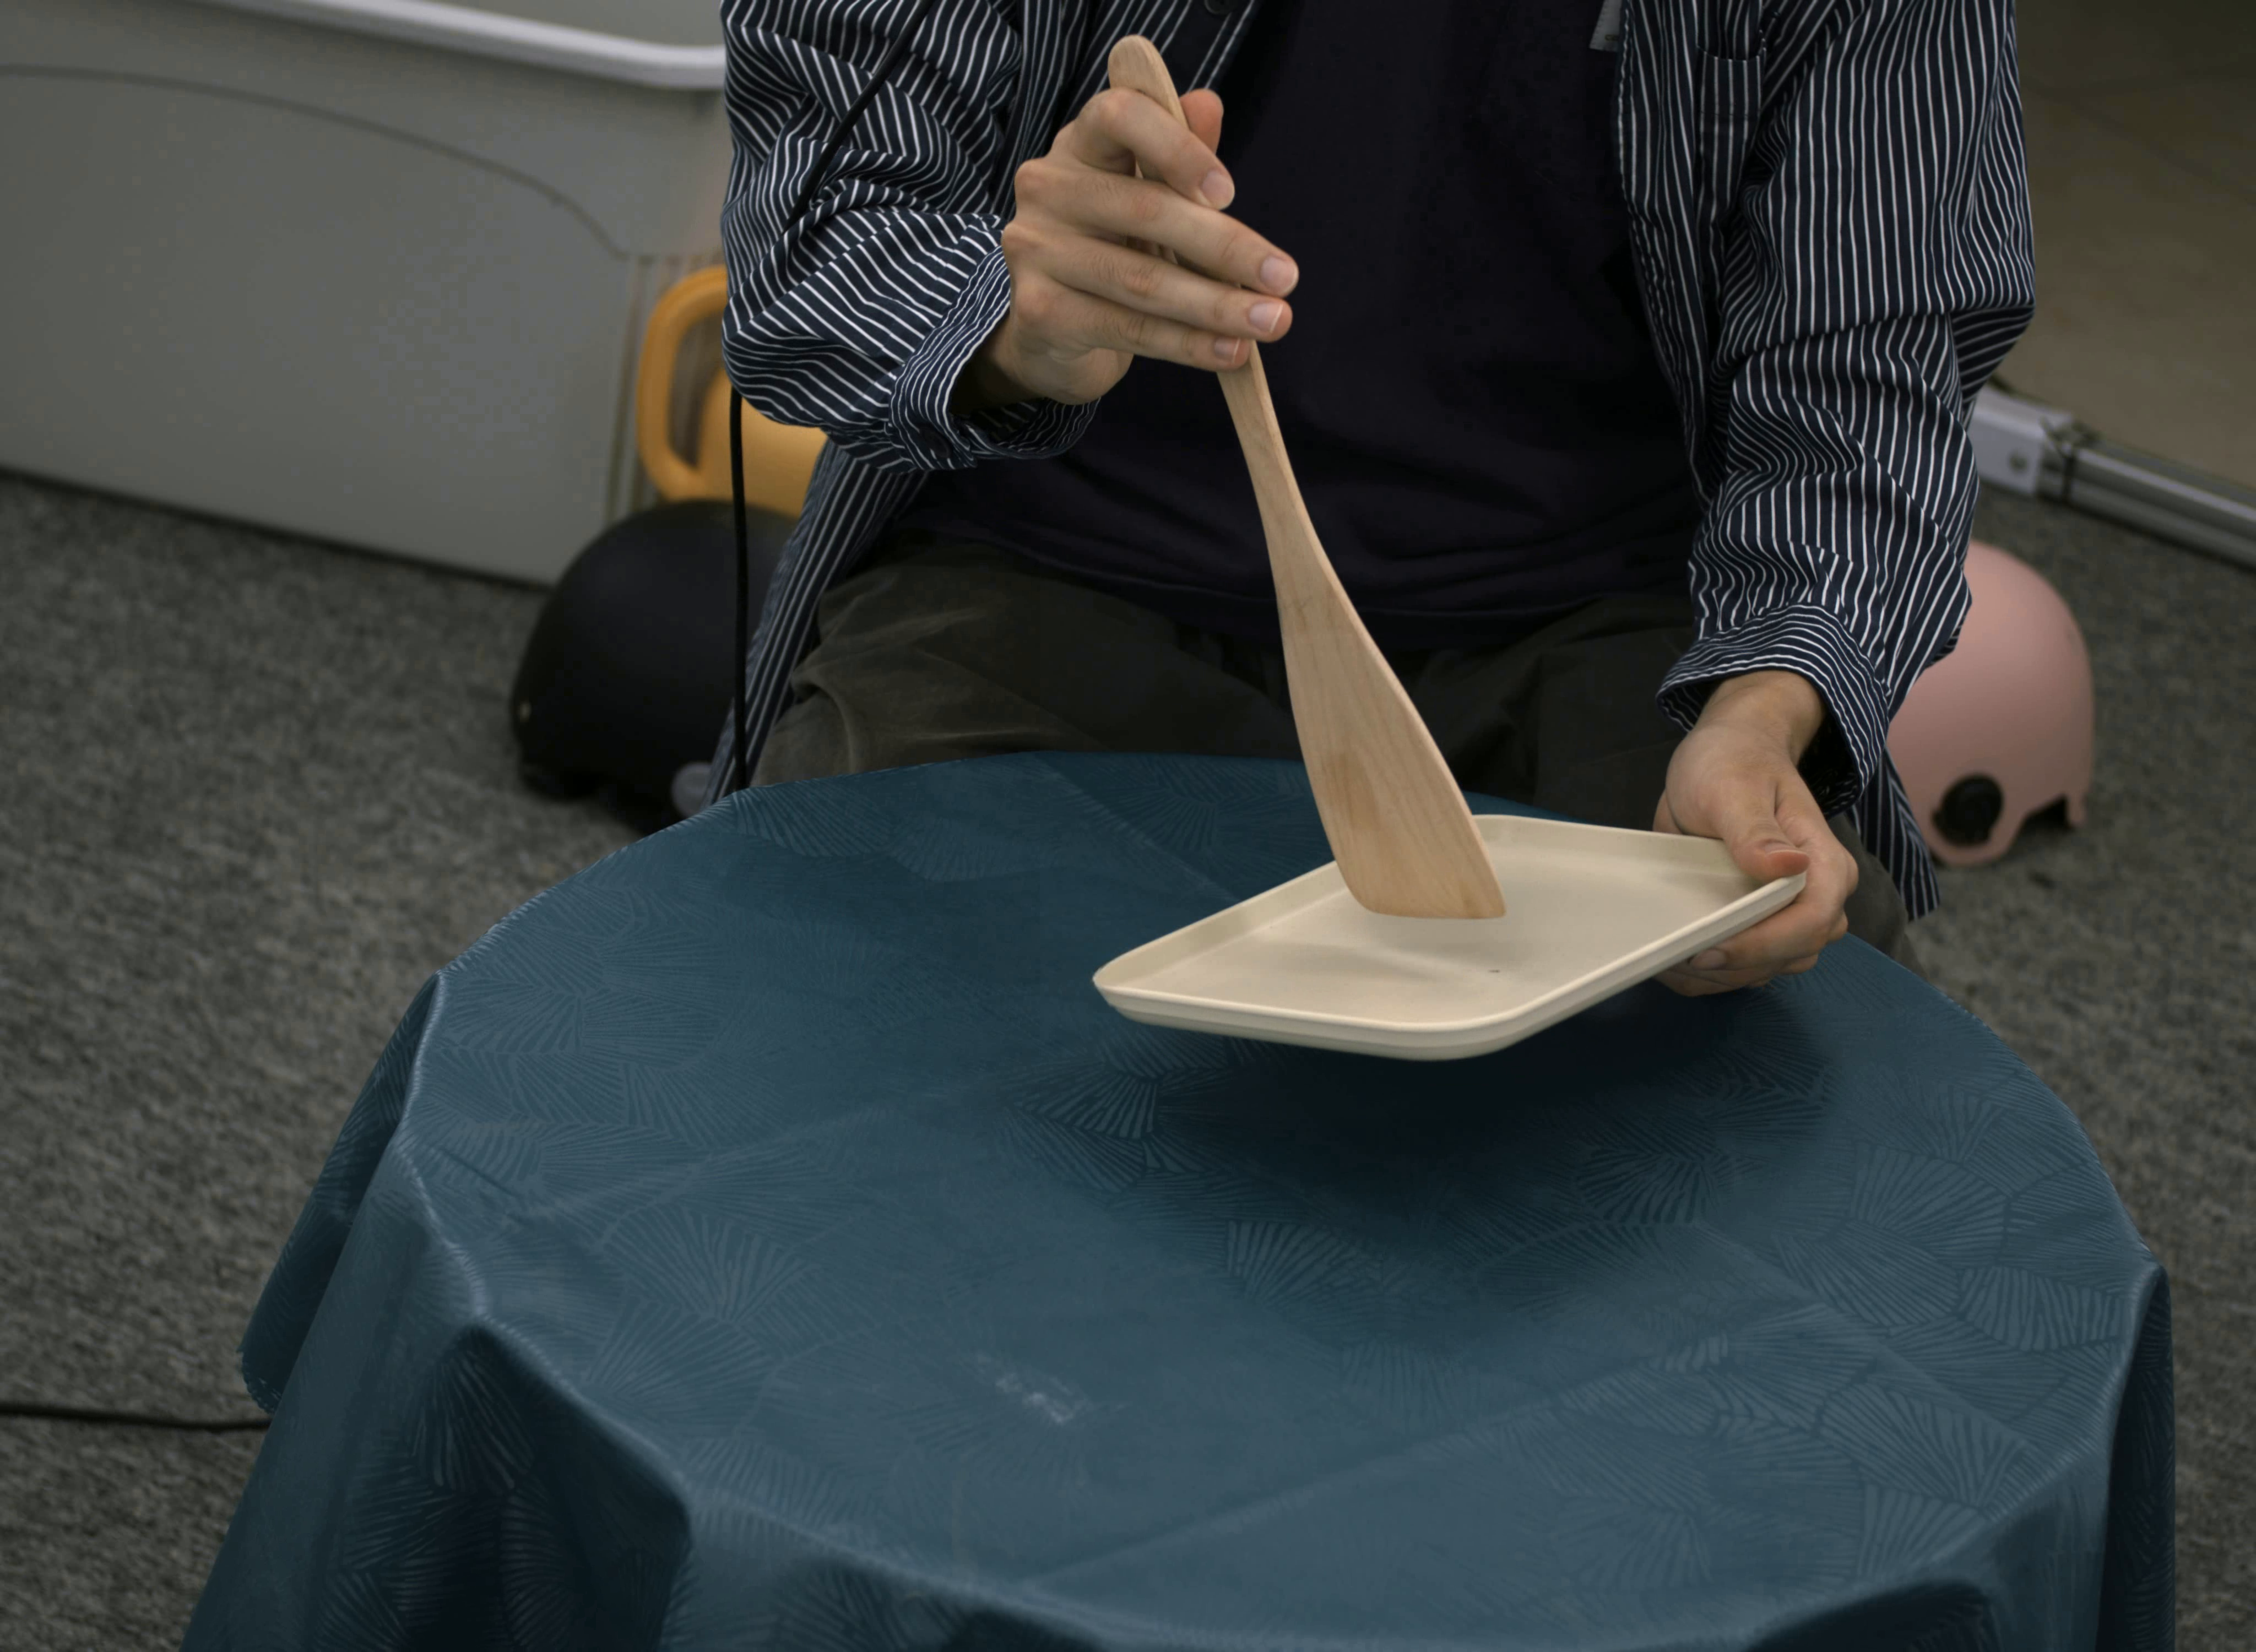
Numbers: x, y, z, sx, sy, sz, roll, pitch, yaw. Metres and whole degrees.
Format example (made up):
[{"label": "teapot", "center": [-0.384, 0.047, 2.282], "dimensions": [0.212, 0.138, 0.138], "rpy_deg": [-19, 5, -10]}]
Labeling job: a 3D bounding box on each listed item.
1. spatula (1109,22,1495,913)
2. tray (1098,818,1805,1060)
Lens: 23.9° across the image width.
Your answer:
[{"label": "spatula", "center": [0.051, -0.121, 1.842], "dimensions": [0.016, 0.328, 0.080], "rpy_deg": [-18, 1, -35]}, {"label": "tray", "center": [0.116, 0.039, 1.862], "dimensions": [0.172, 0.017, 0.238], "rpy_deg": [7, 18, 37]}]
